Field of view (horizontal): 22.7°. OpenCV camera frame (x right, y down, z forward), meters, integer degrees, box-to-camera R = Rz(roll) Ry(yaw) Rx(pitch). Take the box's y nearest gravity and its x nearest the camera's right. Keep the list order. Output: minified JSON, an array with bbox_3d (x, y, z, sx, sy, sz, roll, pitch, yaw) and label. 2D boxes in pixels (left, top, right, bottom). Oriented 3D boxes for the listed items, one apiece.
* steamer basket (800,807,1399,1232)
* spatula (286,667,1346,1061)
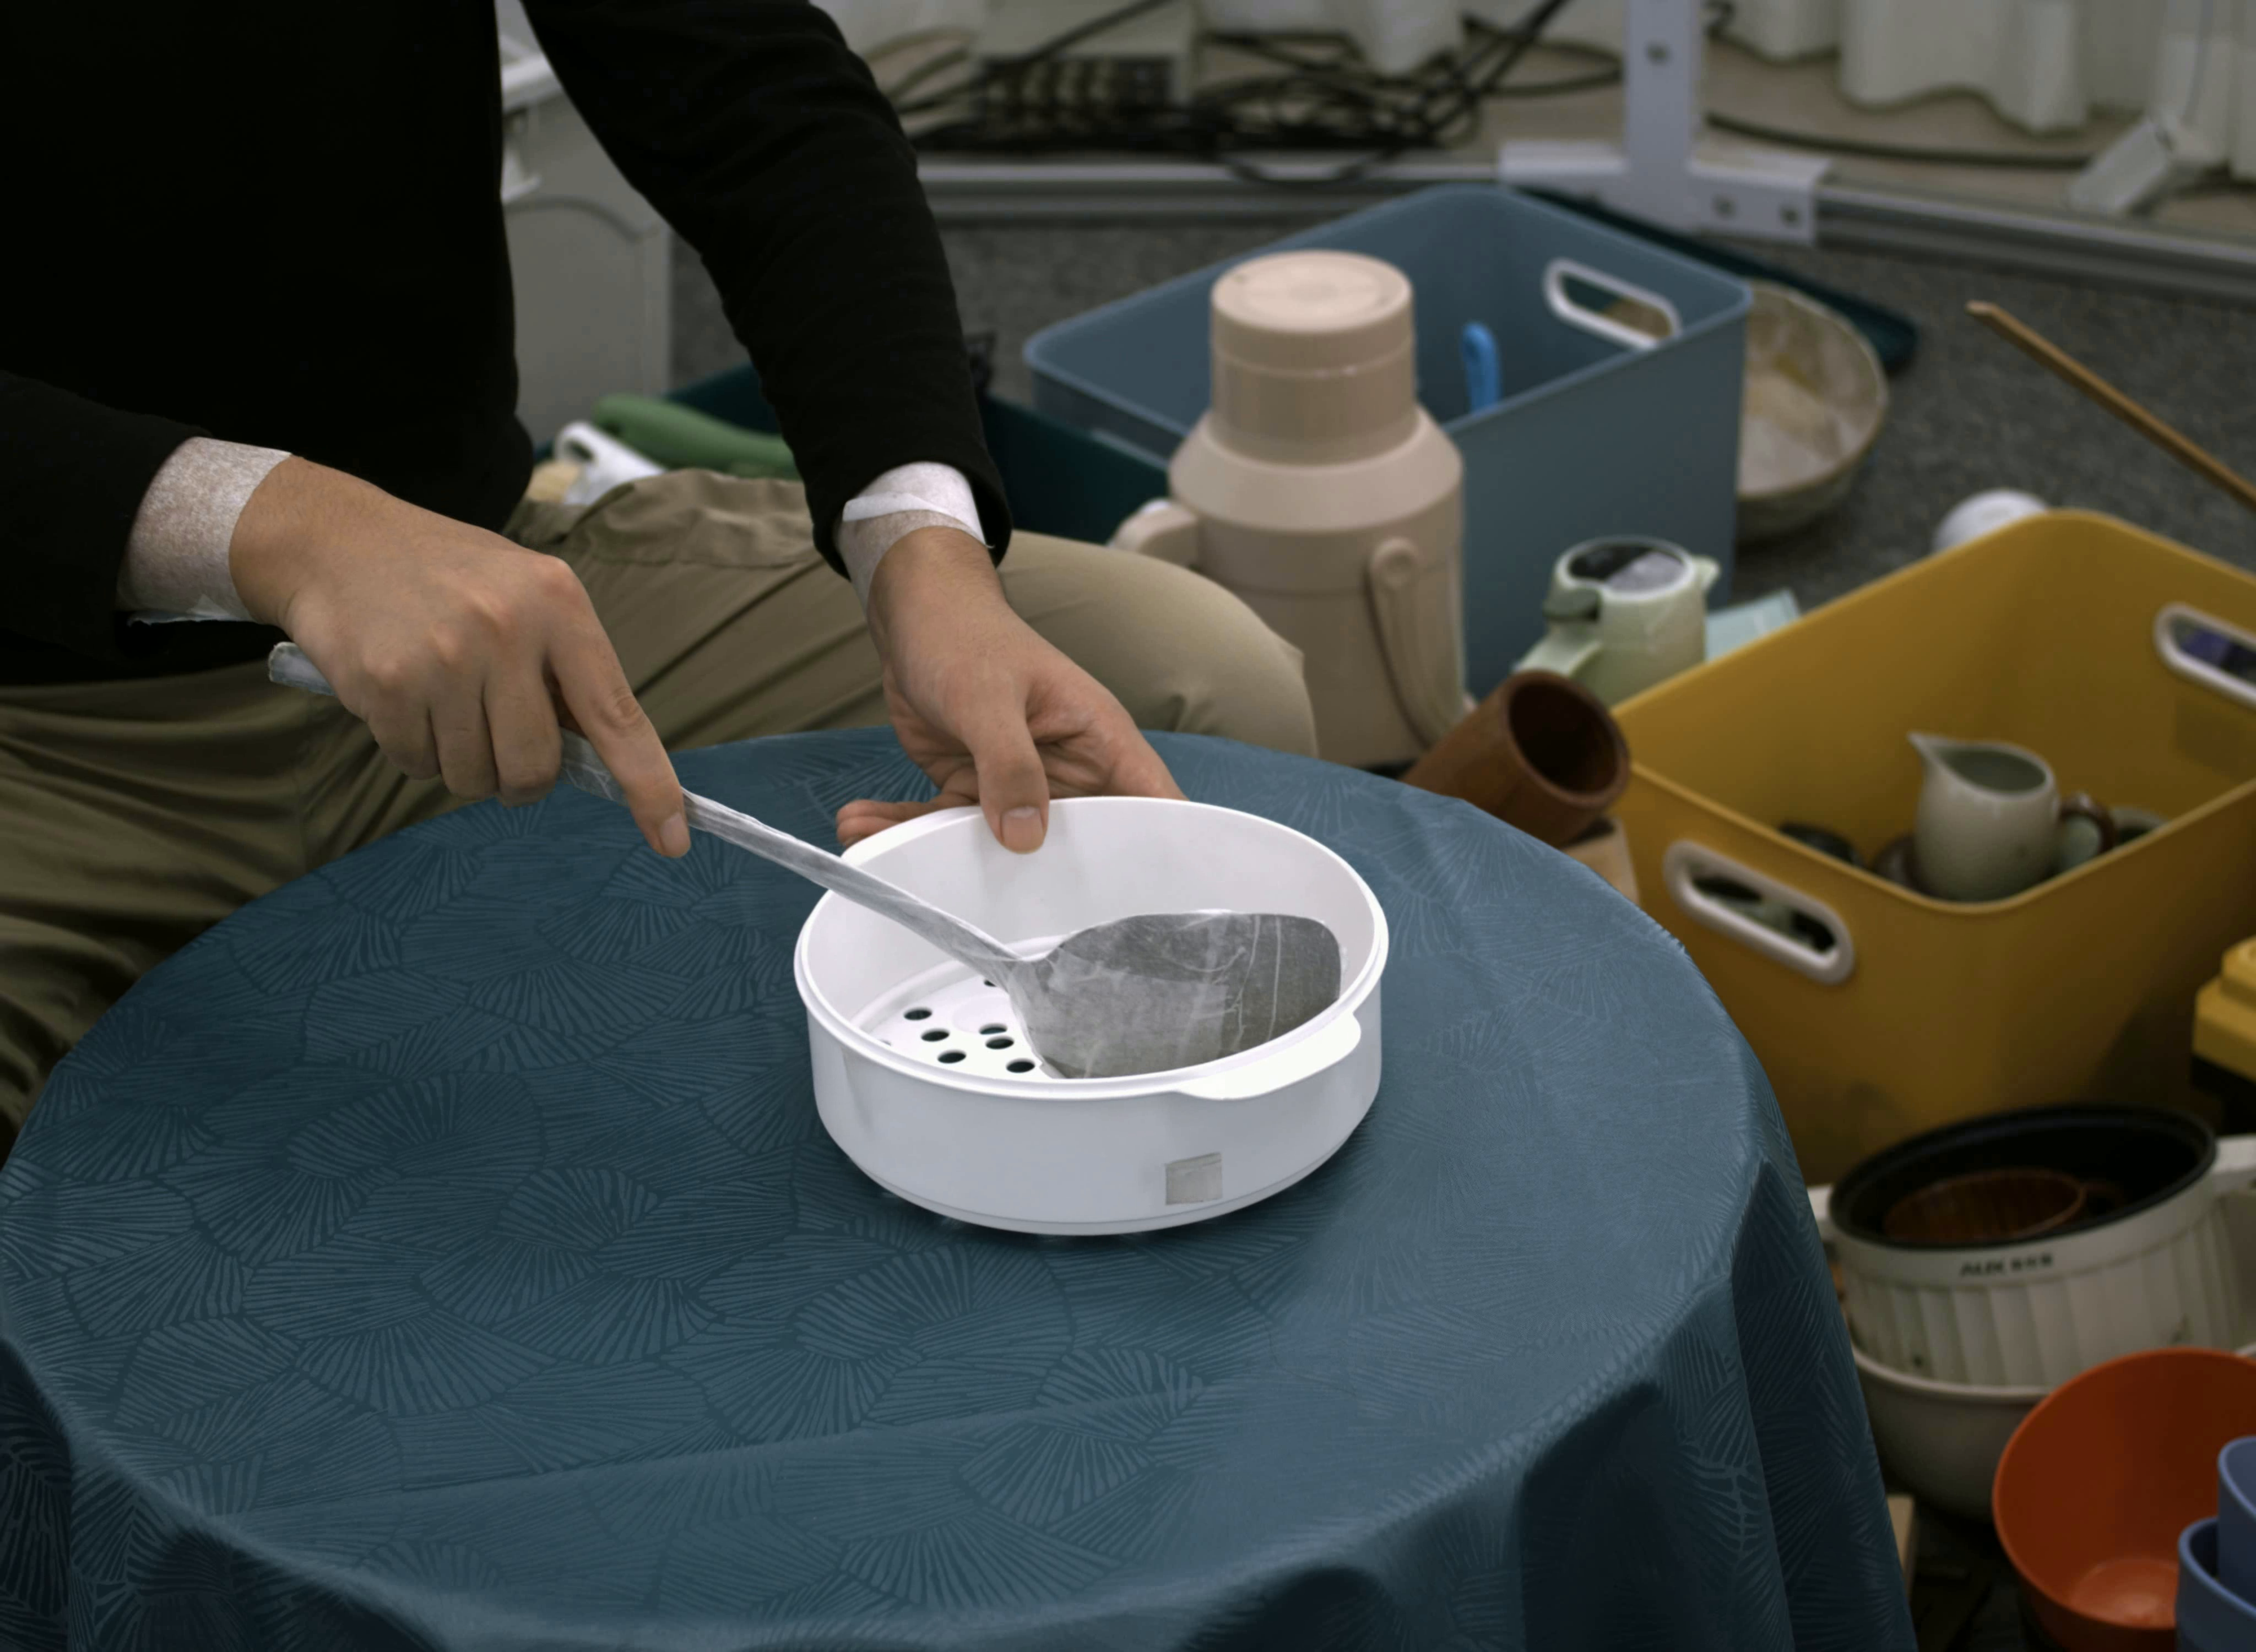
[{"bbox_3d":[-0.009,0.066,1.893,0.203,0.068,0.231,-19,31,-32],"label":"steamer basket"},{"bbox_3d":[-0.104,0.010,1.854,0.364,0.097,0.045,23,43,6],"label":"spatula"}]
